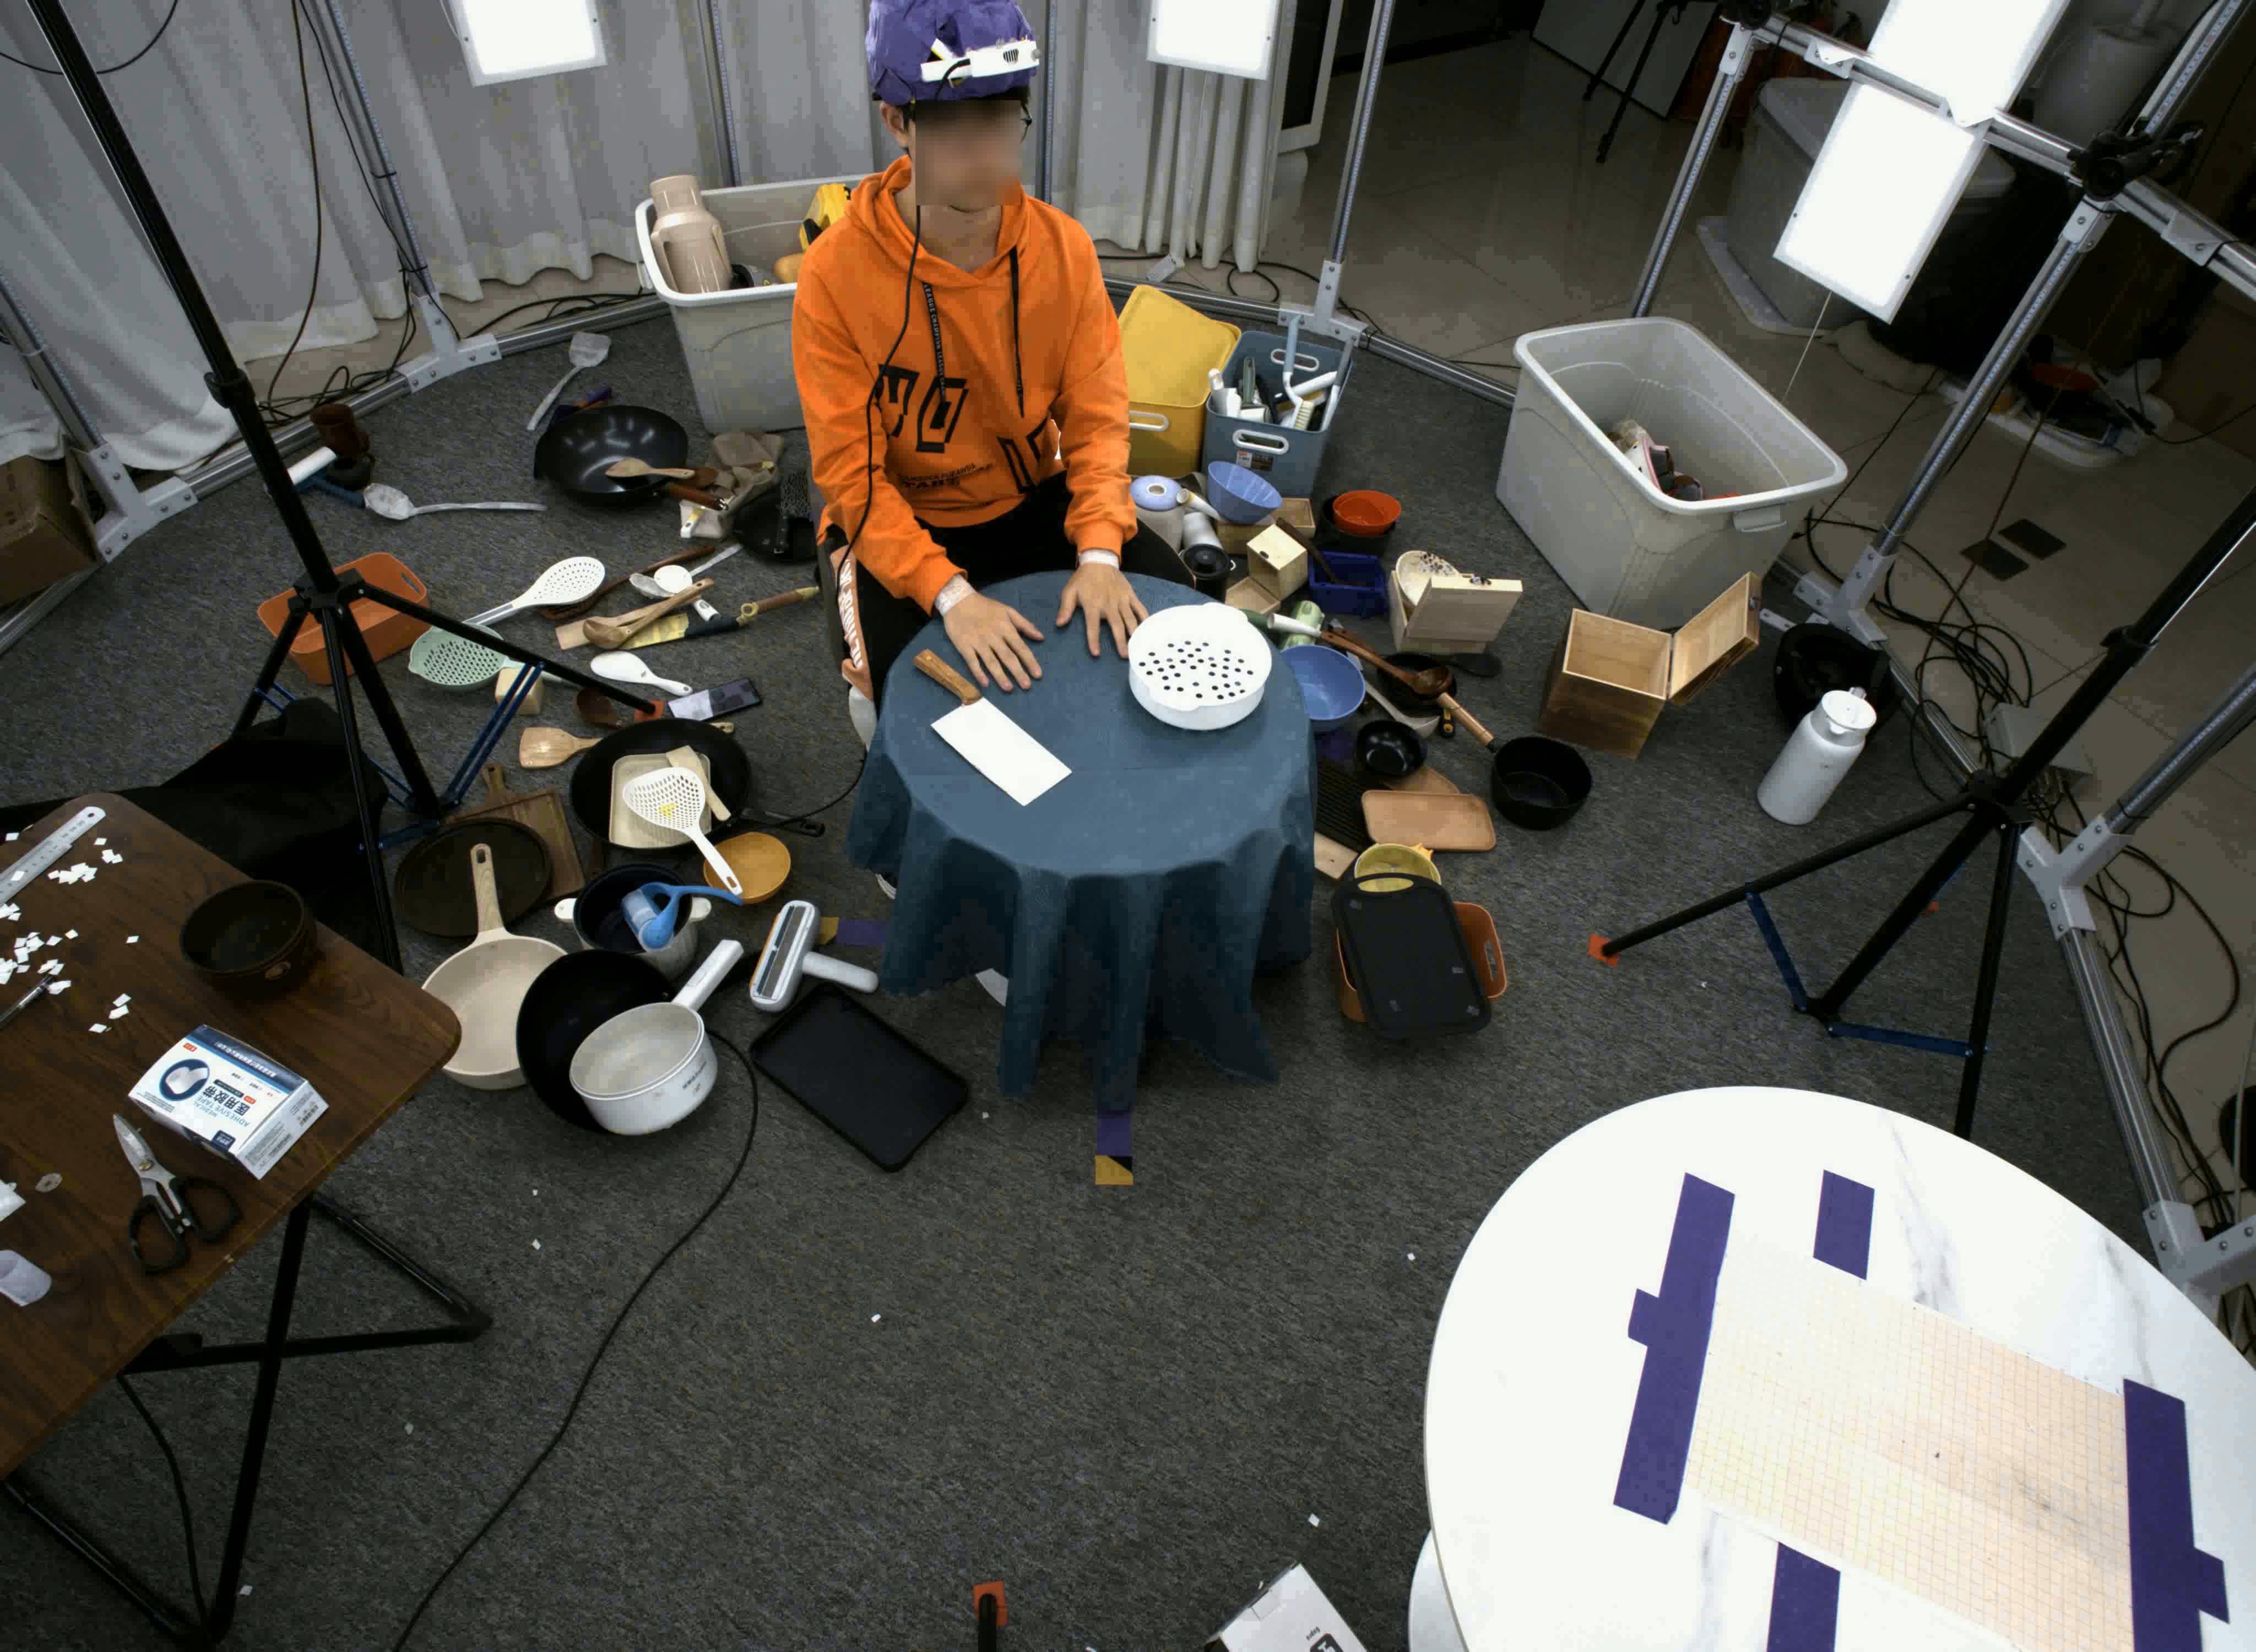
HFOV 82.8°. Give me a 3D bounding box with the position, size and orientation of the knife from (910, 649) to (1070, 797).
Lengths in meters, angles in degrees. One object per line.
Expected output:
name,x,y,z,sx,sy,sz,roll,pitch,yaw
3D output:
knife,-0.212,-0.141,1.767,0.094,0.020,0.310,-36,62,-28

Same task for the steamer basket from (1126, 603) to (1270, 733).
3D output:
steamer basket,0.097,-0.221,1.821,0.203,0.067,0.235,20,53,13
